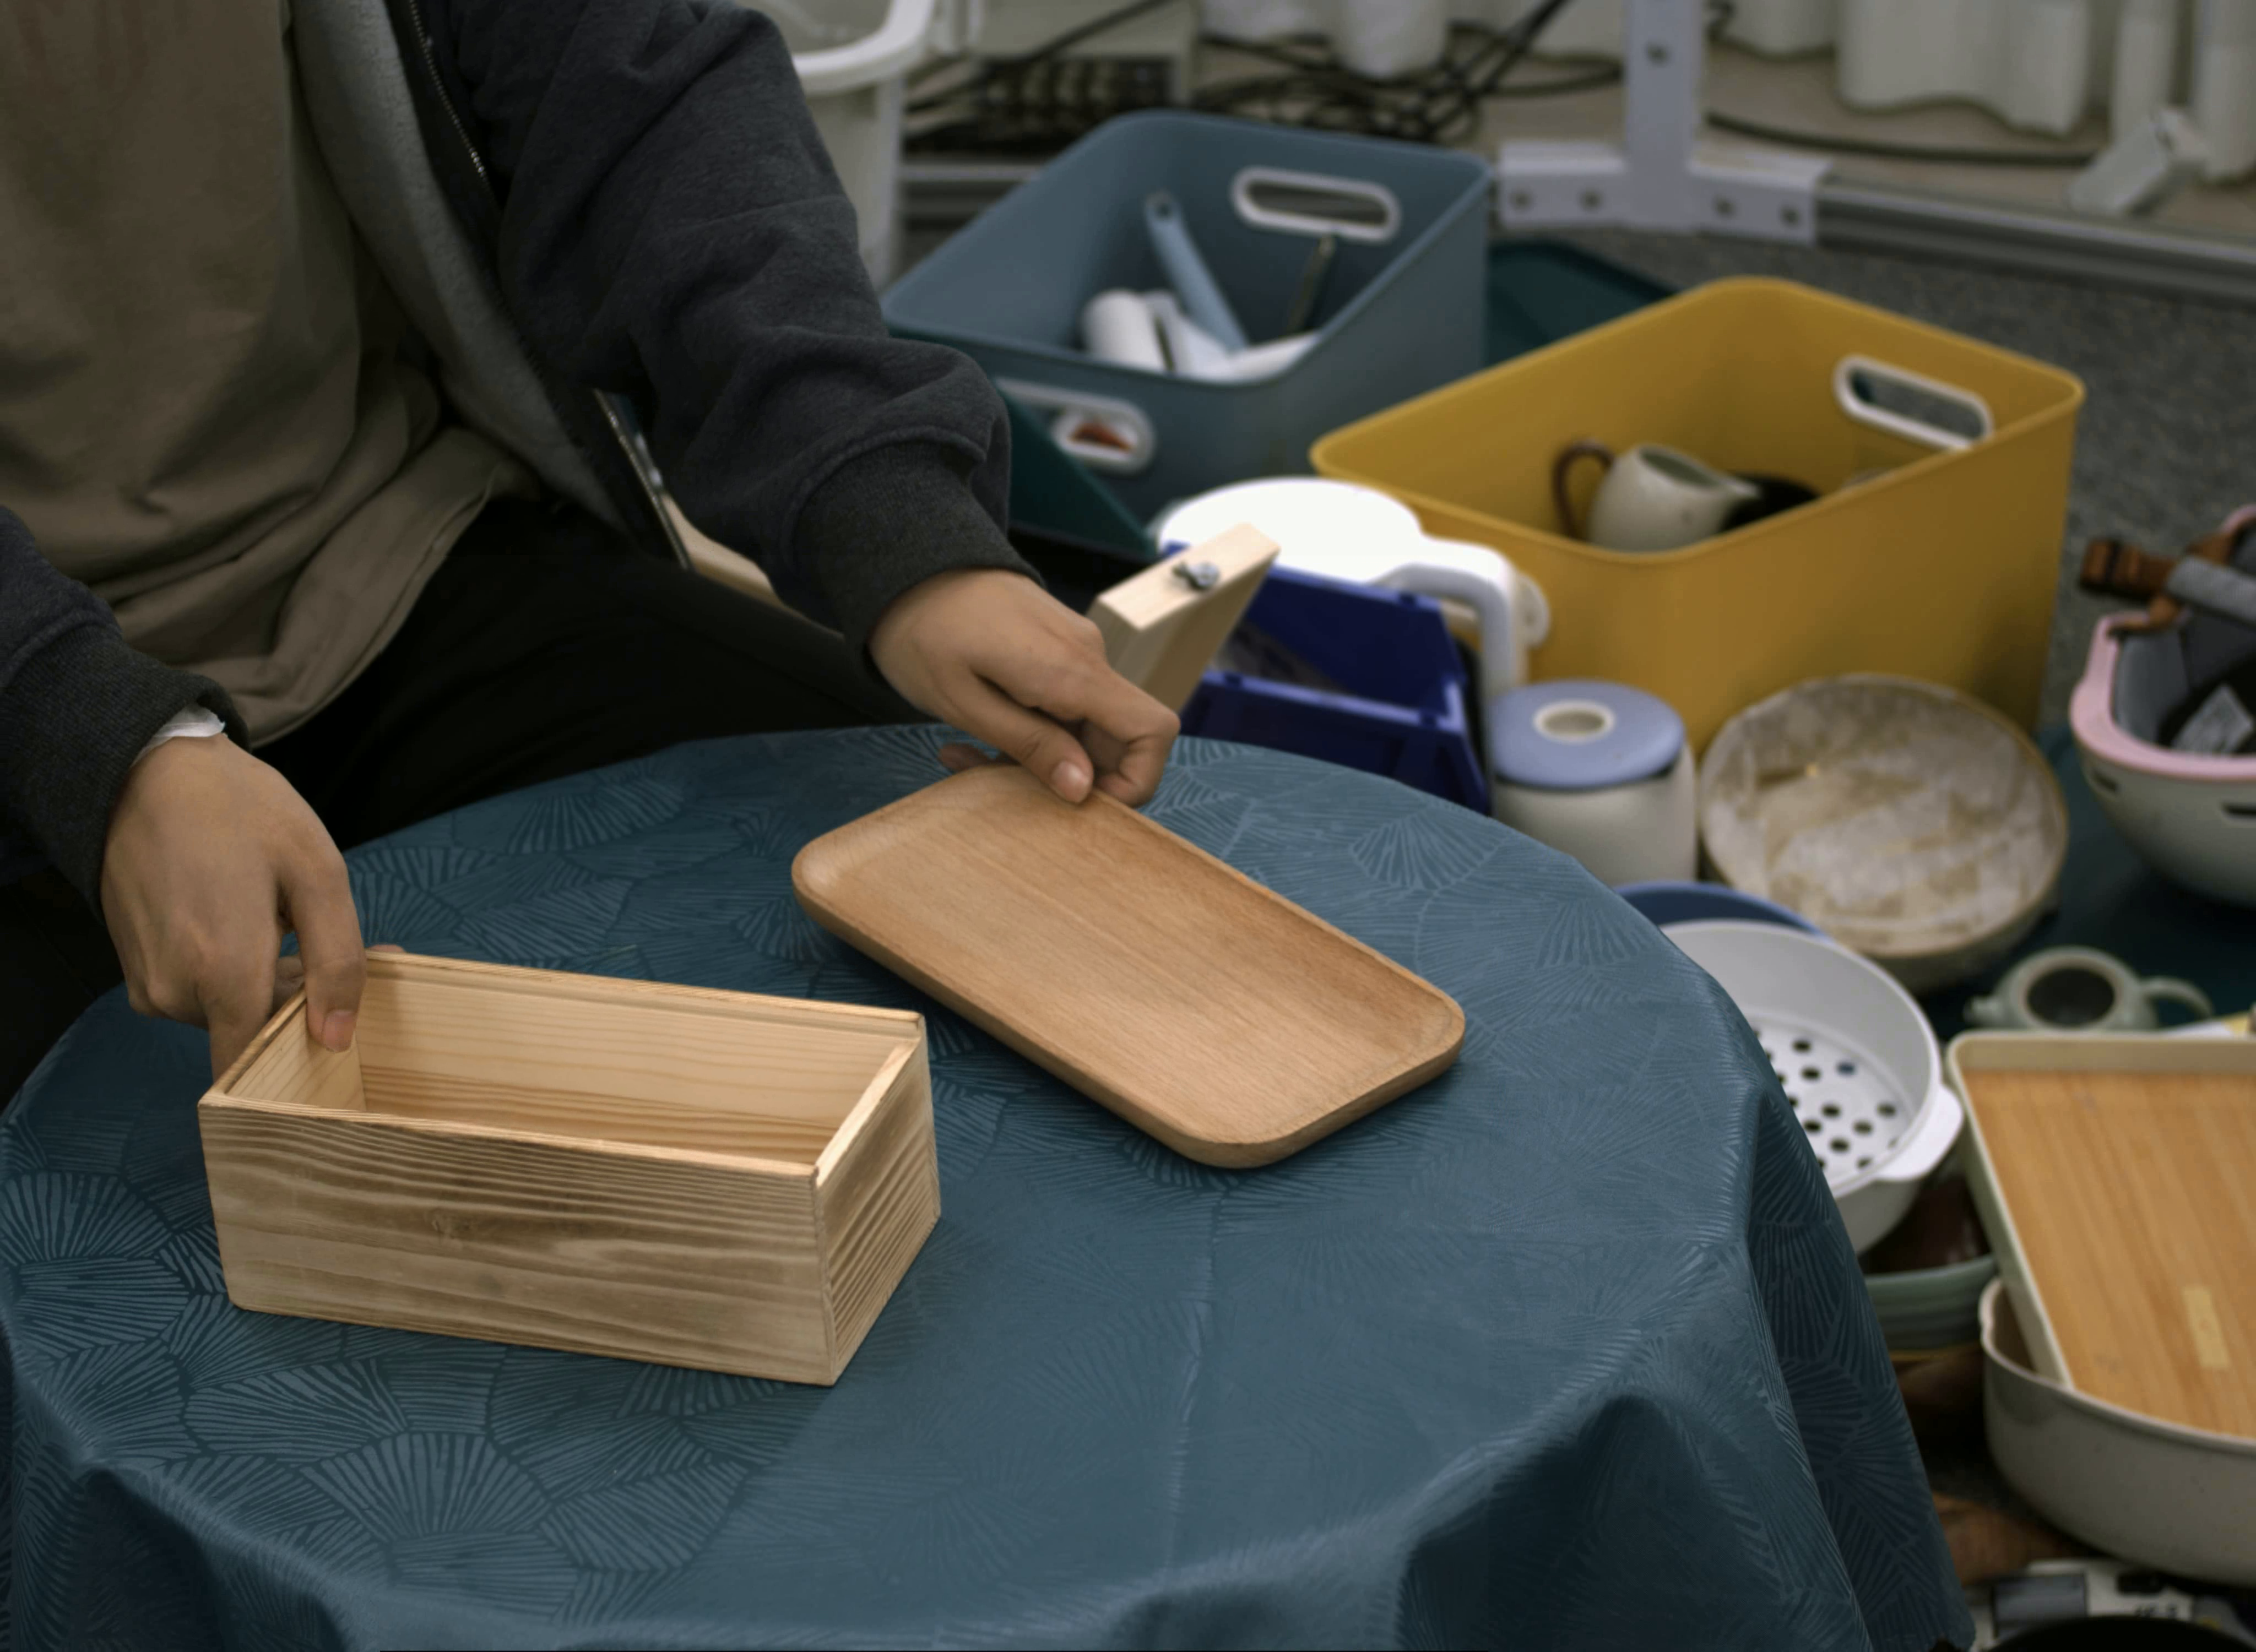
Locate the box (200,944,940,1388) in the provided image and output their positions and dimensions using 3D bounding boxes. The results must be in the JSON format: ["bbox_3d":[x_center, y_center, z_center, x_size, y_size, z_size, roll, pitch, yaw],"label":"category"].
[{"bbox_3d":[-0.179,0.109,1.820,0.210,0.079,0.109,6,28,17],"label":"box"}]

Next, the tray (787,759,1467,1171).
[{"bbox_3d":[-0.003,0.046,1.968,0.132,0.022,0.251,-22,37,-36],"label":"tray"}]
